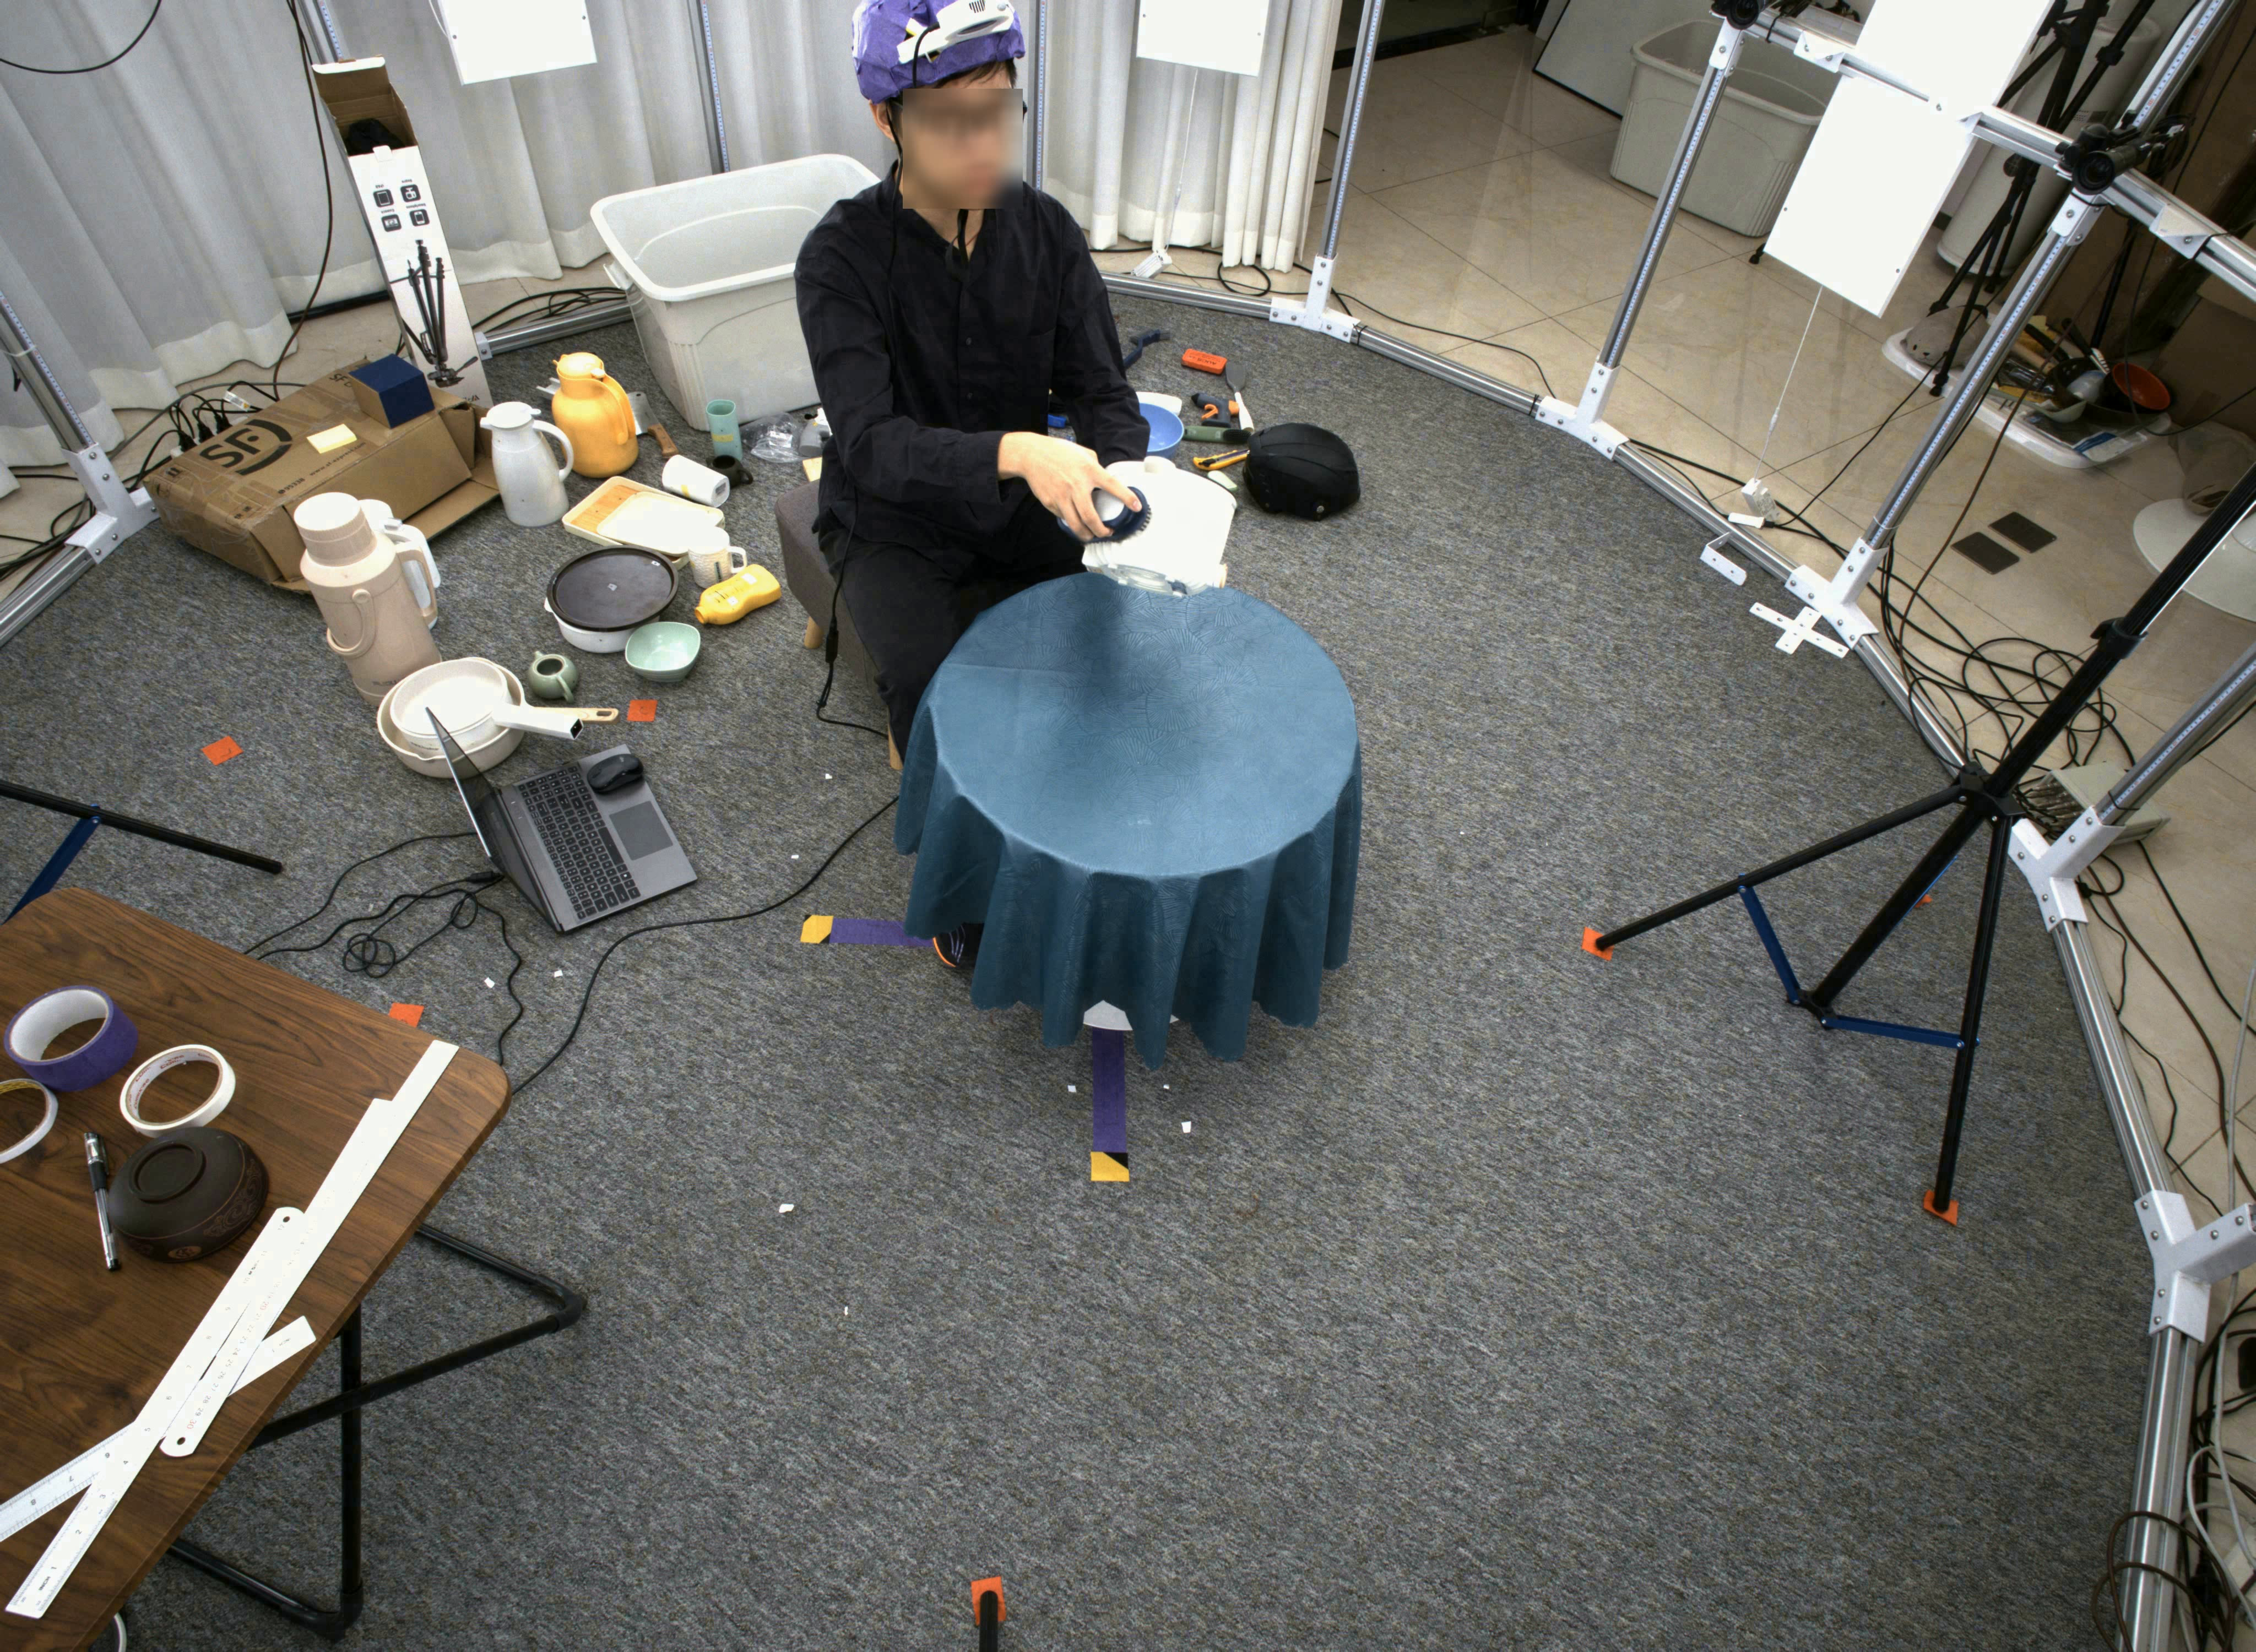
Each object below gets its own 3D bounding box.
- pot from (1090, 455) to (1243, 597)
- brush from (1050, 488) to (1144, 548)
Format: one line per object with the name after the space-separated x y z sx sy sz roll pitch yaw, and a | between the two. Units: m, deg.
0.055 -0.391 1.725 0.191 0.239 0.143 12 88 9 | pot
-0.037 -0.388 1.629 0.122 0.060 0.068 4 86 32 | brush
